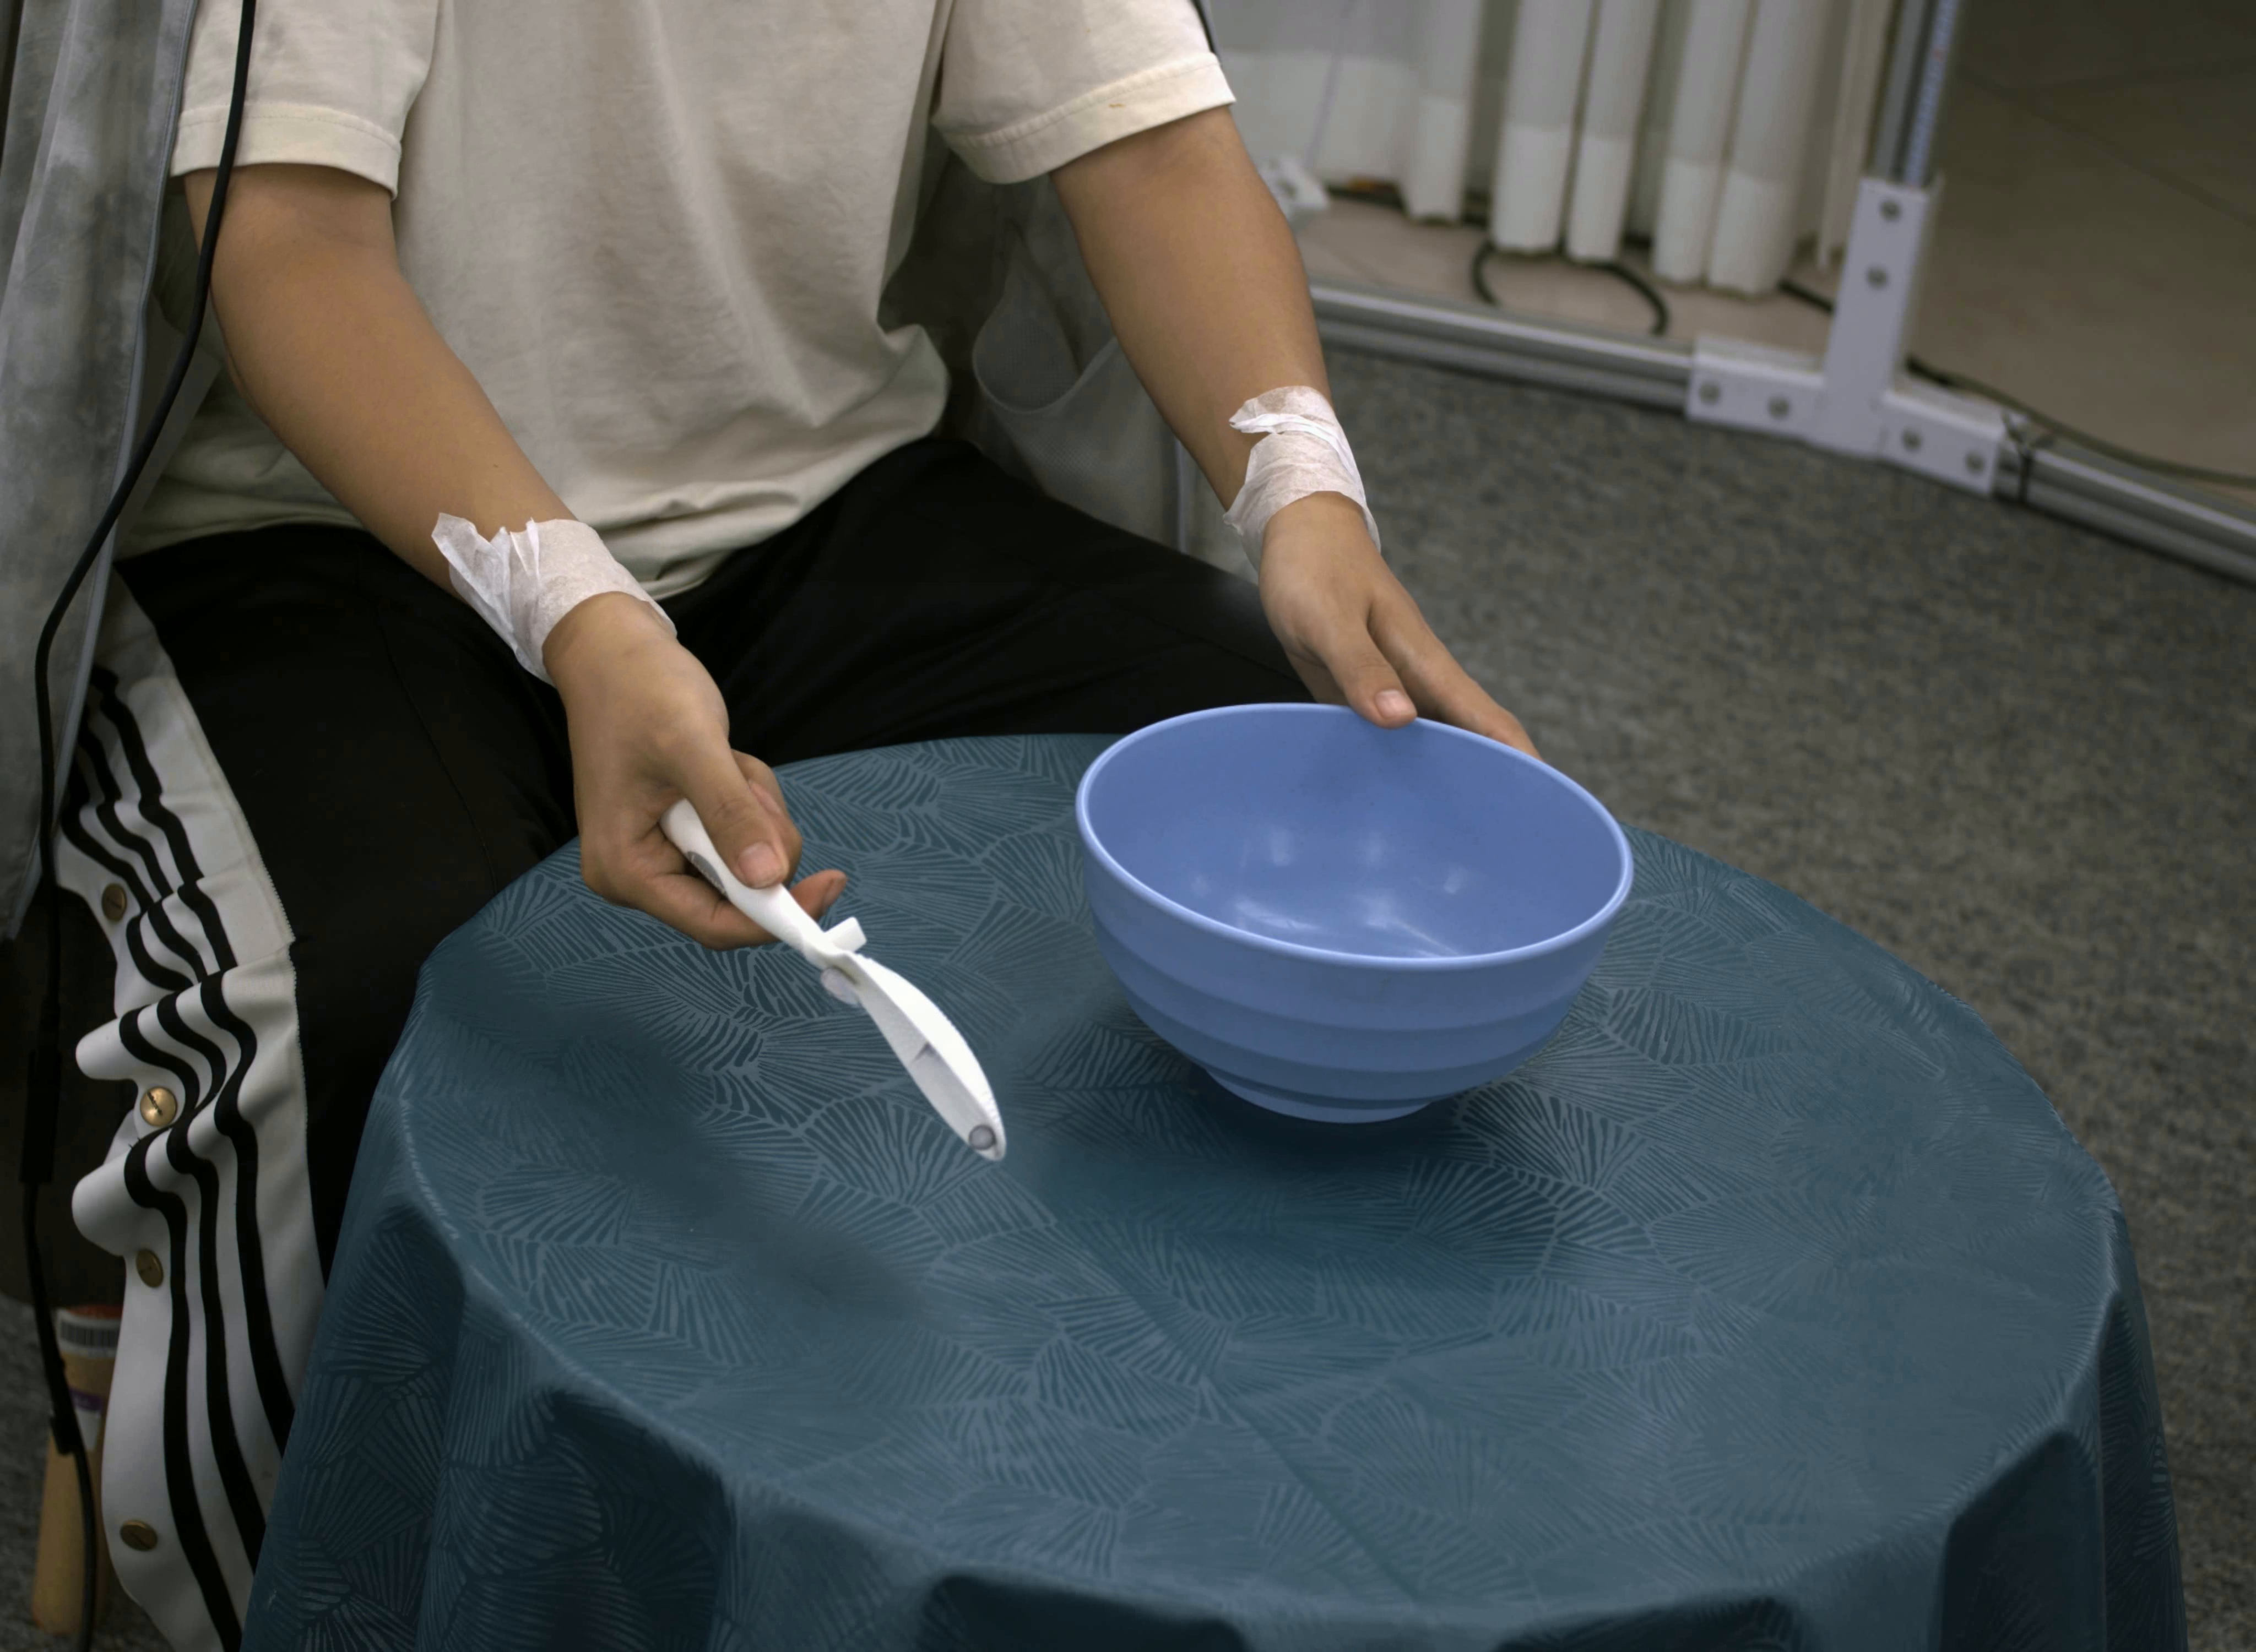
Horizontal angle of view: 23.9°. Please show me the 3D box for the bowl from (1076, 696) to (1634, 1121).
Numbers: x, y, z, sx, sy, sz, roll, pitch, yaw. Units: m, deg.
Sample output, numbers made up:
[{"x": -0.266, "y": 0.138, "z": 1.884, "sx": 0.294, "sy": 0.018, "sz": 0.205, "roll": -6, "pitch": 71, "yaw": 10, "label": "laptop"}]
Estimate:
[{"x": 0.074, "y": 0.040, "z": 1.879, "sx": 0.196, "sy": 0.095, "sz": 0.198, "roll": 5, "pitch": 29, "yaw": -3, "label": "bowl"}]

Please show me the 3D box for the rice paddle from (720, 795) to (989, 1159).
[{"x": -0.088, "y": 0.047, "z": 1.753, "sx": 0.029, "sy": 0.068, "sz": 0.207, "roll": -22, "pitch": 33, "yaw": -13, "label": "rice paddle"}]
